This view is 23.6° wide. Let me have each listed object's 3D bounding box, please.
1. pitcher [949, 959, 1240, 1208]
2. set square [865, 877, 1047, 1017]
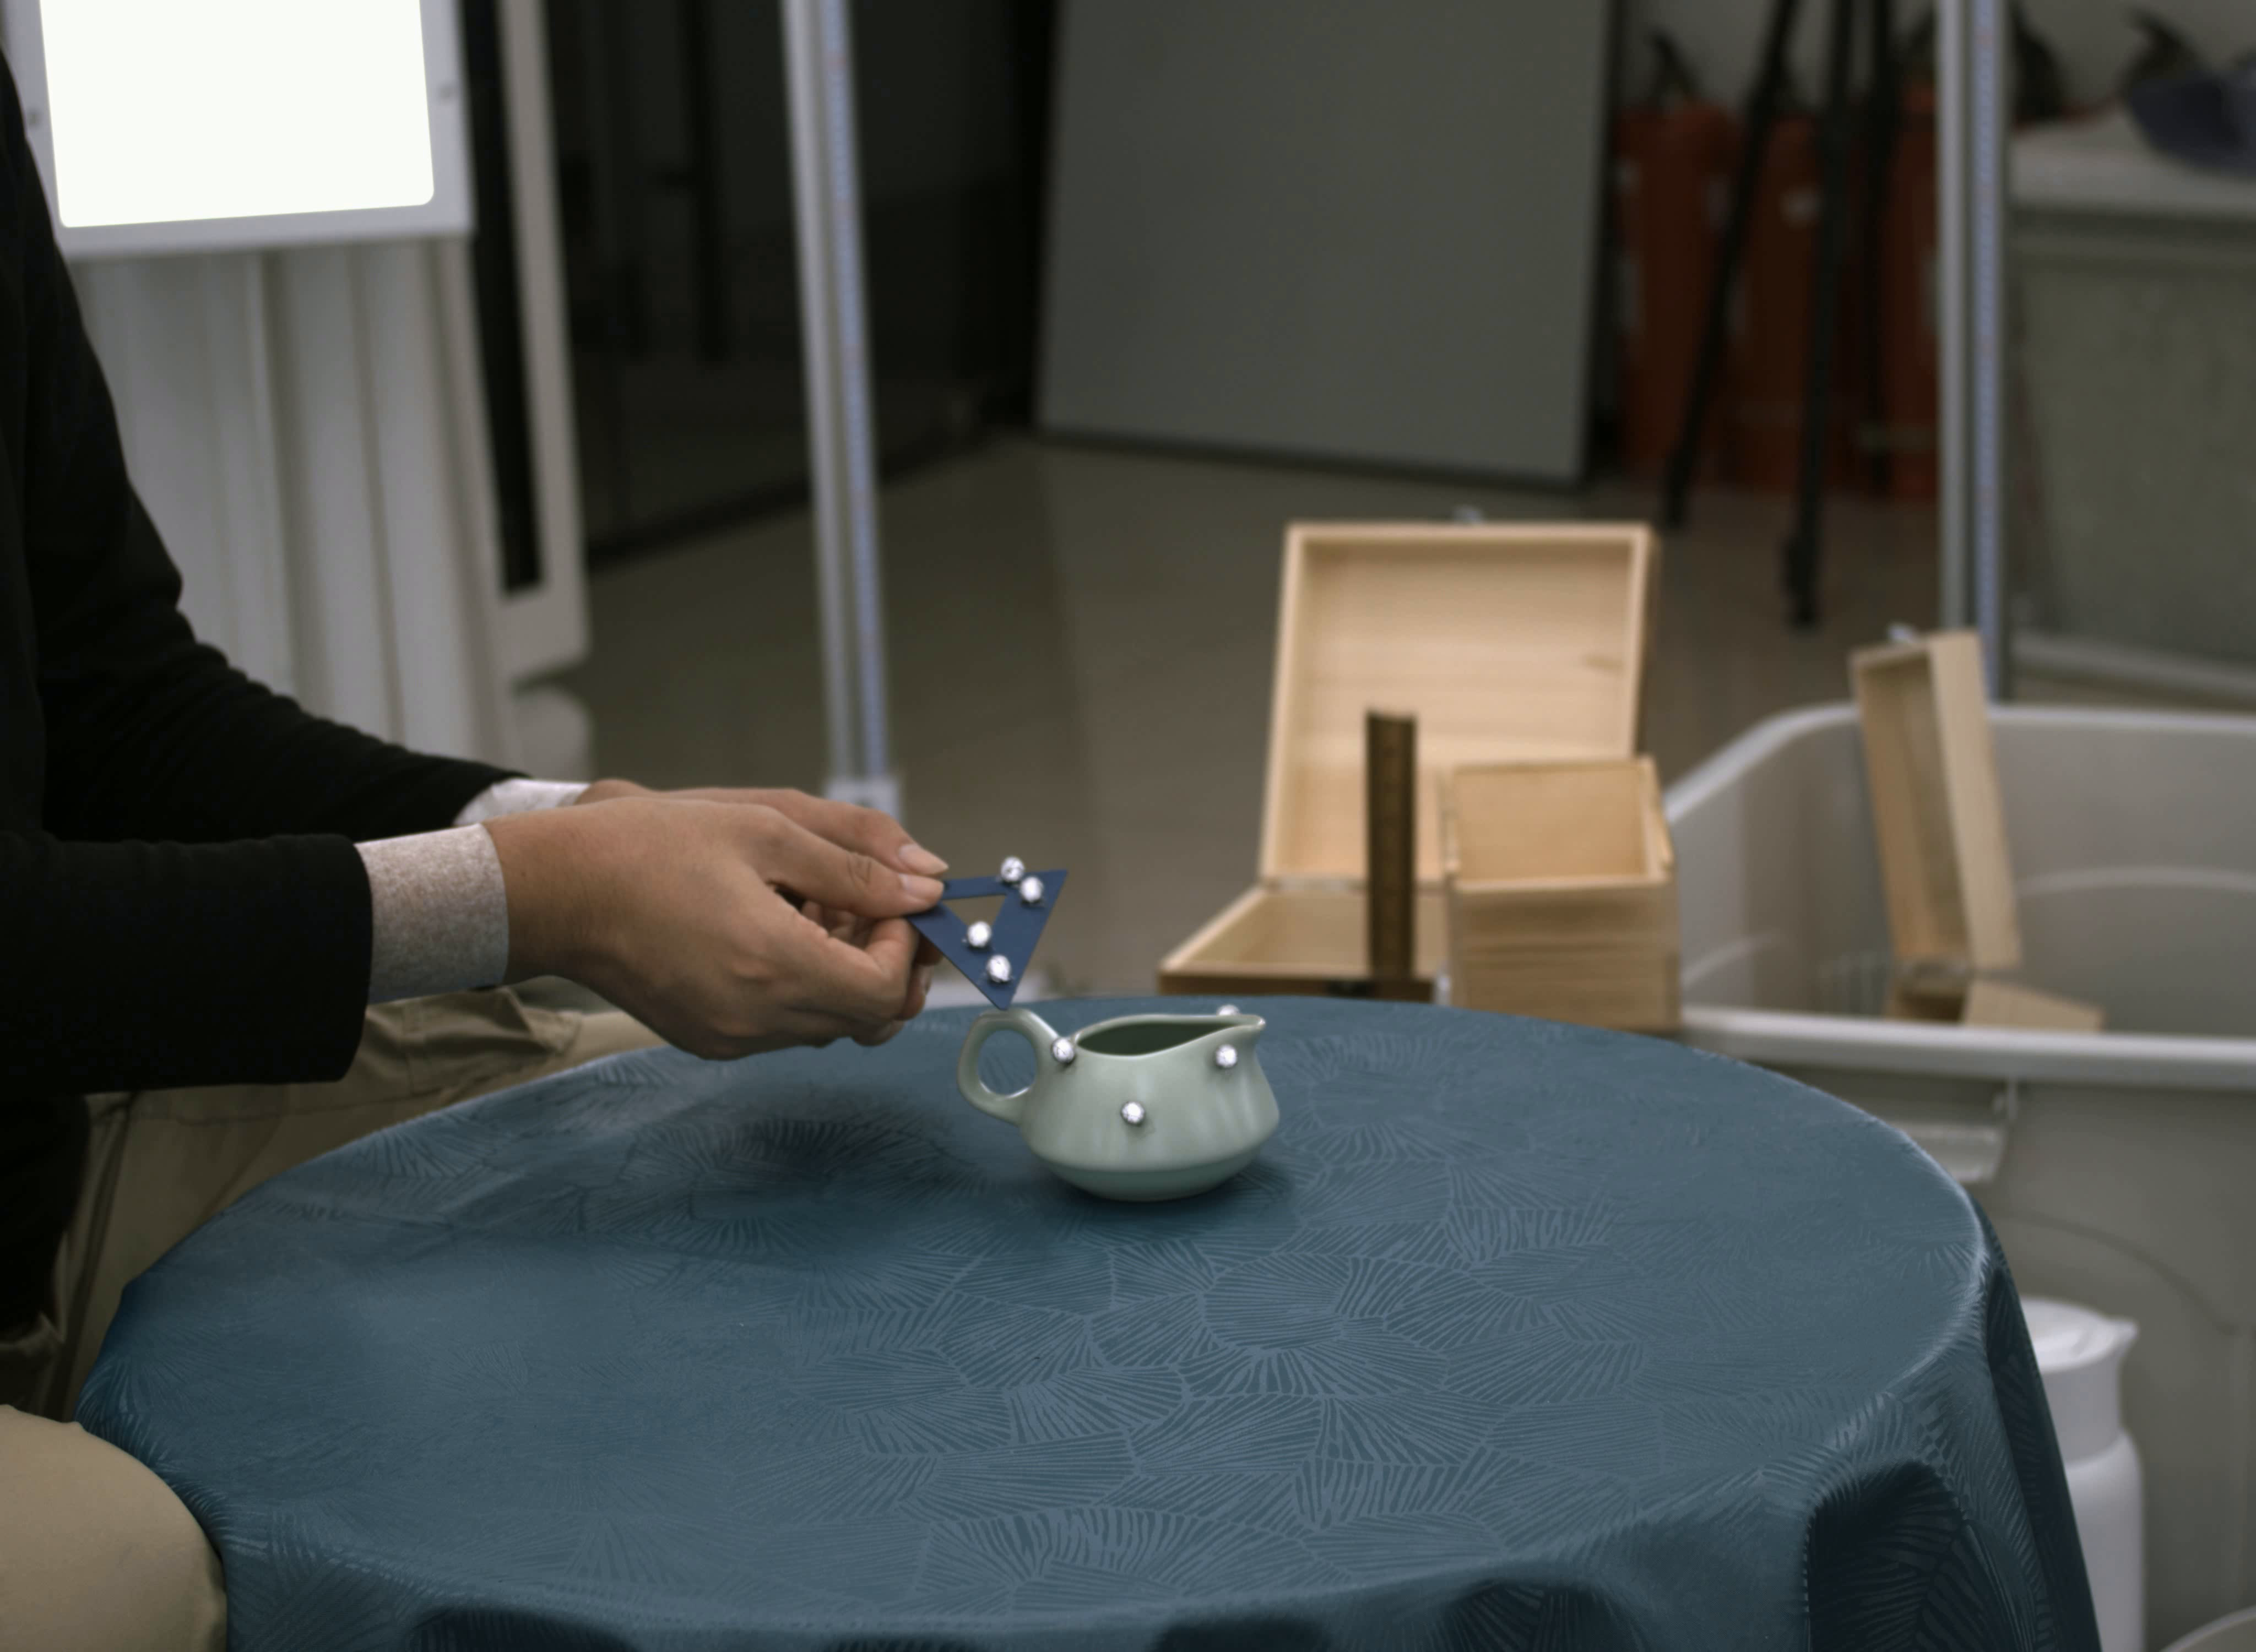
[{"bbox_3d":[-0.014,0.084,1.781,0.108,0.061,0.085,22,34,23],"label":"pitcher"},{"bbox_3d":[-0.067,0.036,1.785,0.061,0.006,0.131,6,19,10],"label":"set square"}]
